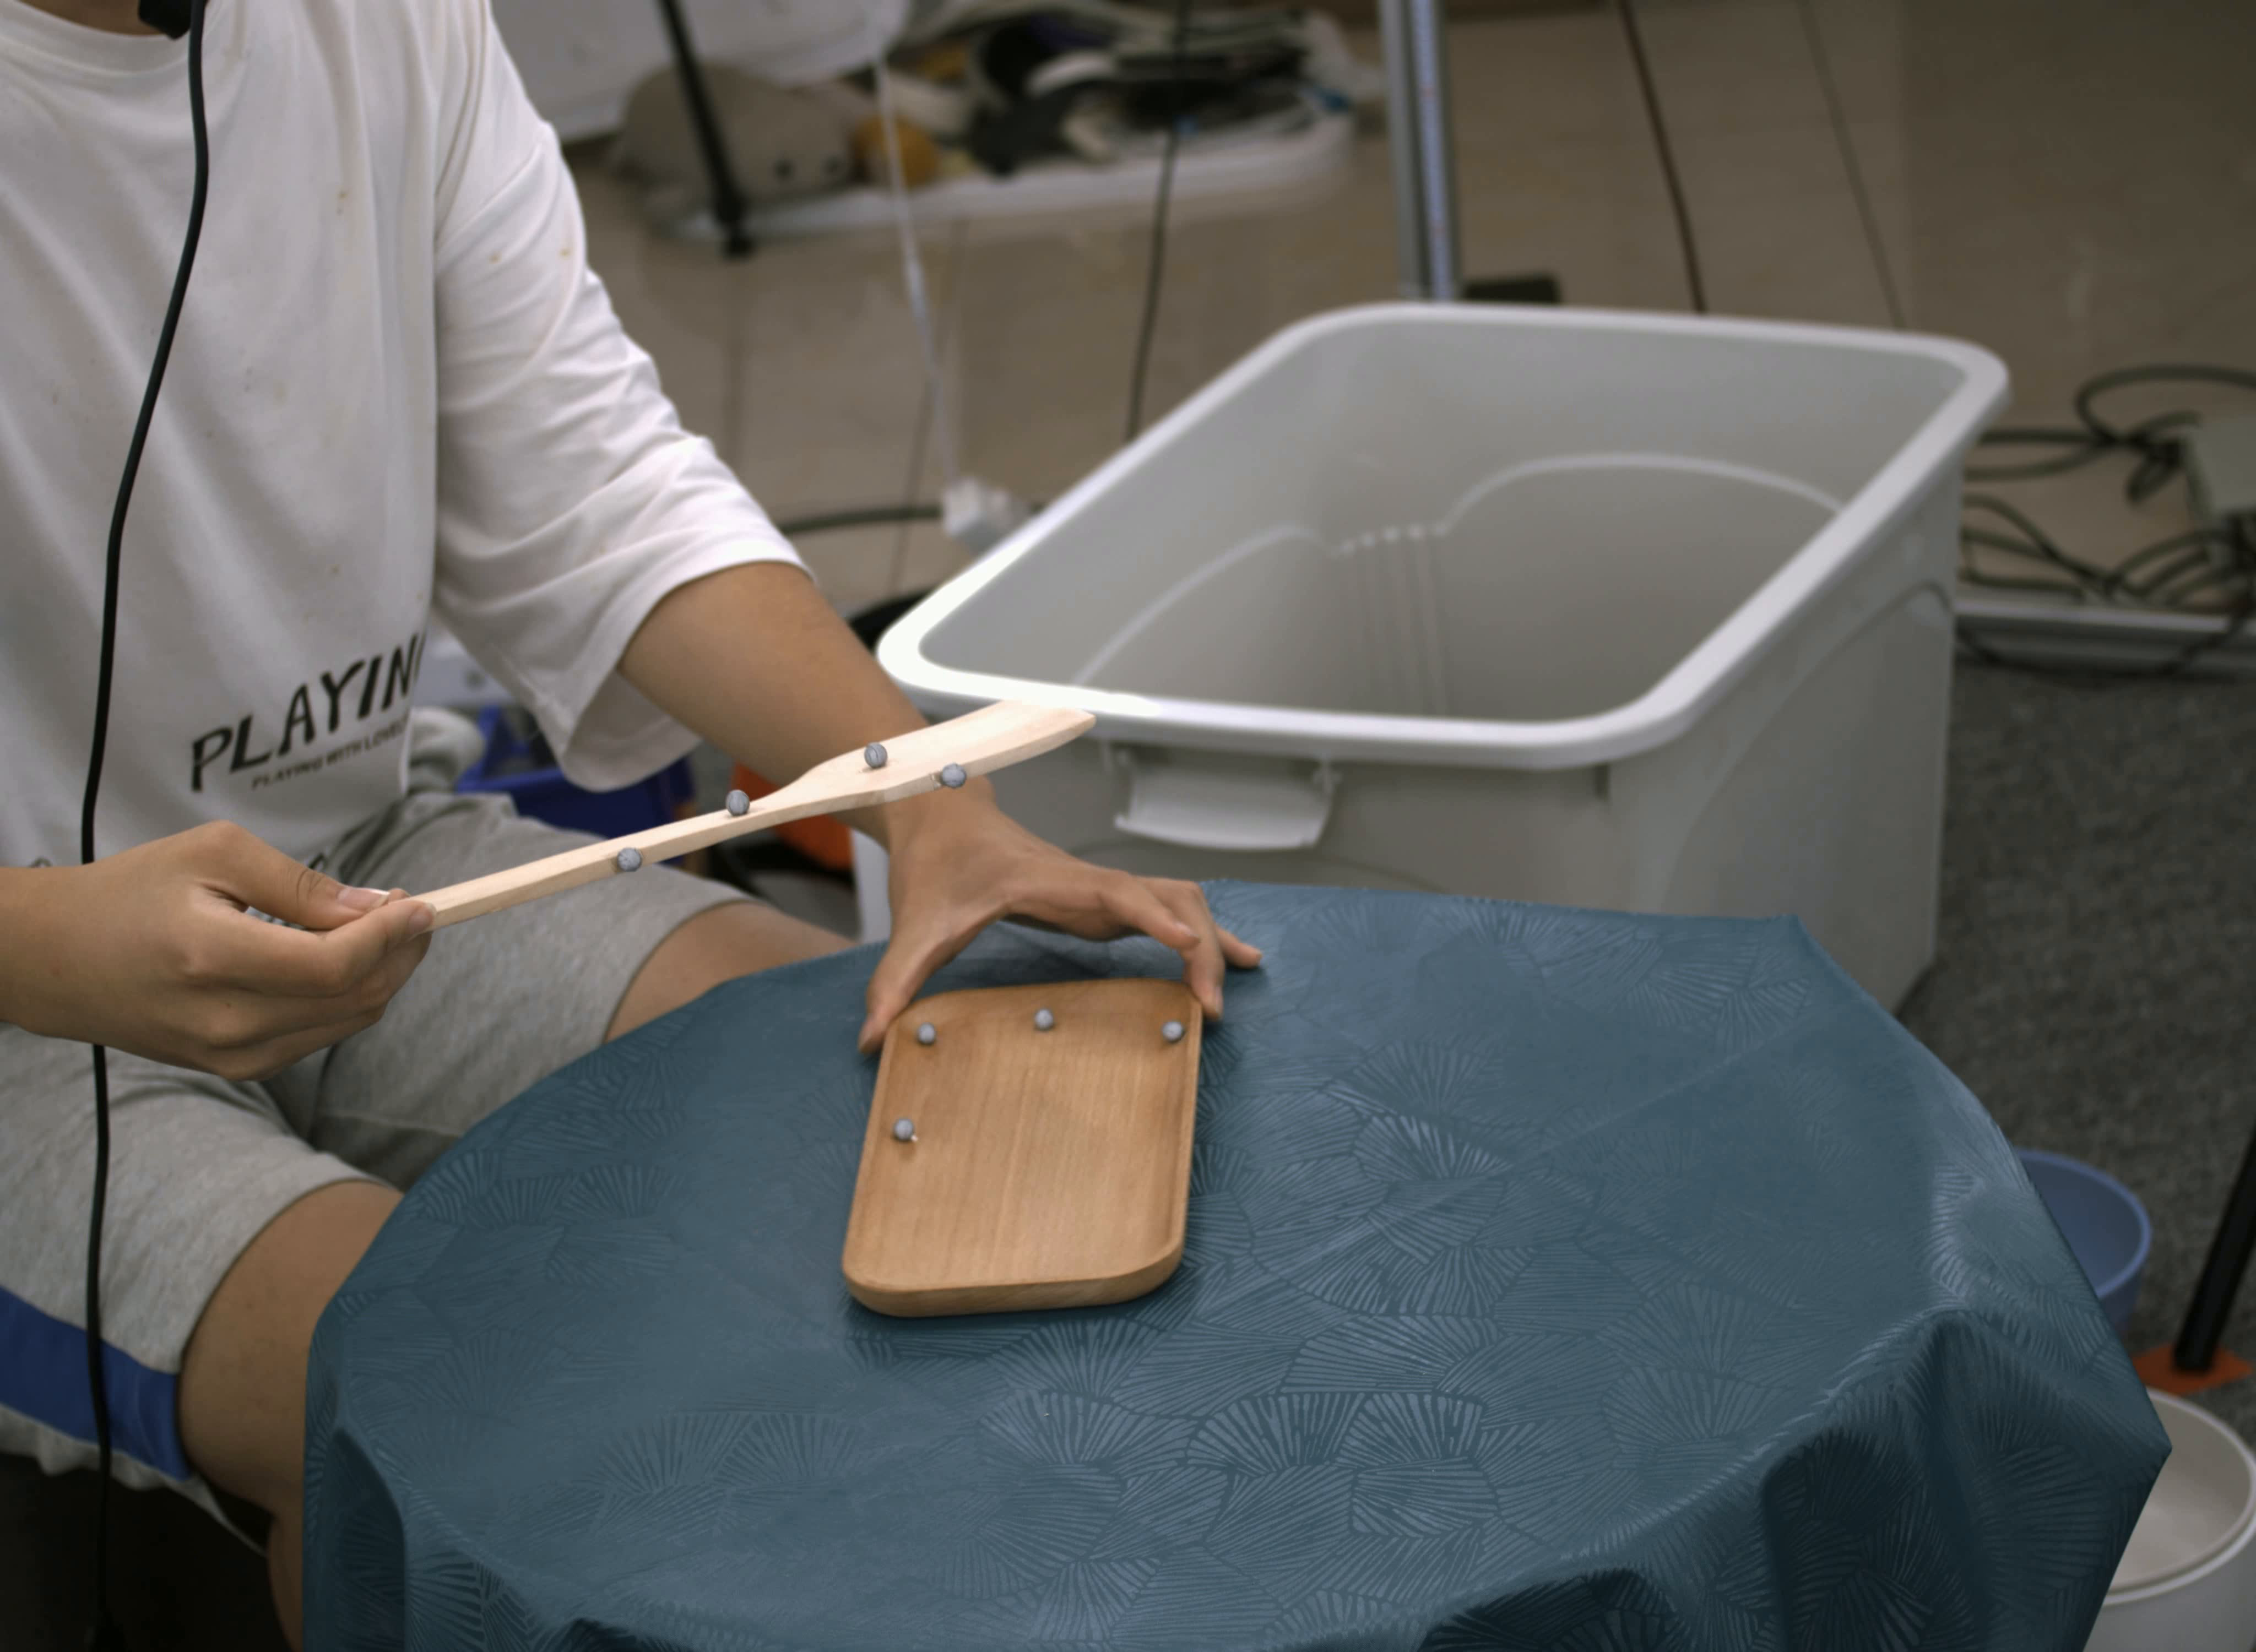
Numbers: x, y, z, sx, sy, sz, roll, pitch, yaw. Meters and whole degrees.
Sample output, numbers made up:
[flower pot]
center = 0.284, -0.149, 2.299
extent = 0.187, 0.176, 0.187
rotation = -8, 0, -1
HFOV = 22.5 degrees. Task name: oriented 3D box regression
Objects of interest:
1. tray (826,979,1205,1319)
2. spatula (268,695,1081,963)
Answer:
[tray]
center = -0.040, 0.122, 2.176
extent = 0.130, 0.023, 0.247
rotation = -5, 25, 8
[spatula]
center = -0.156, 0.002, 1.938
extent = 0.291, 0.011, 0.072
rotation = -18, 16, -22
